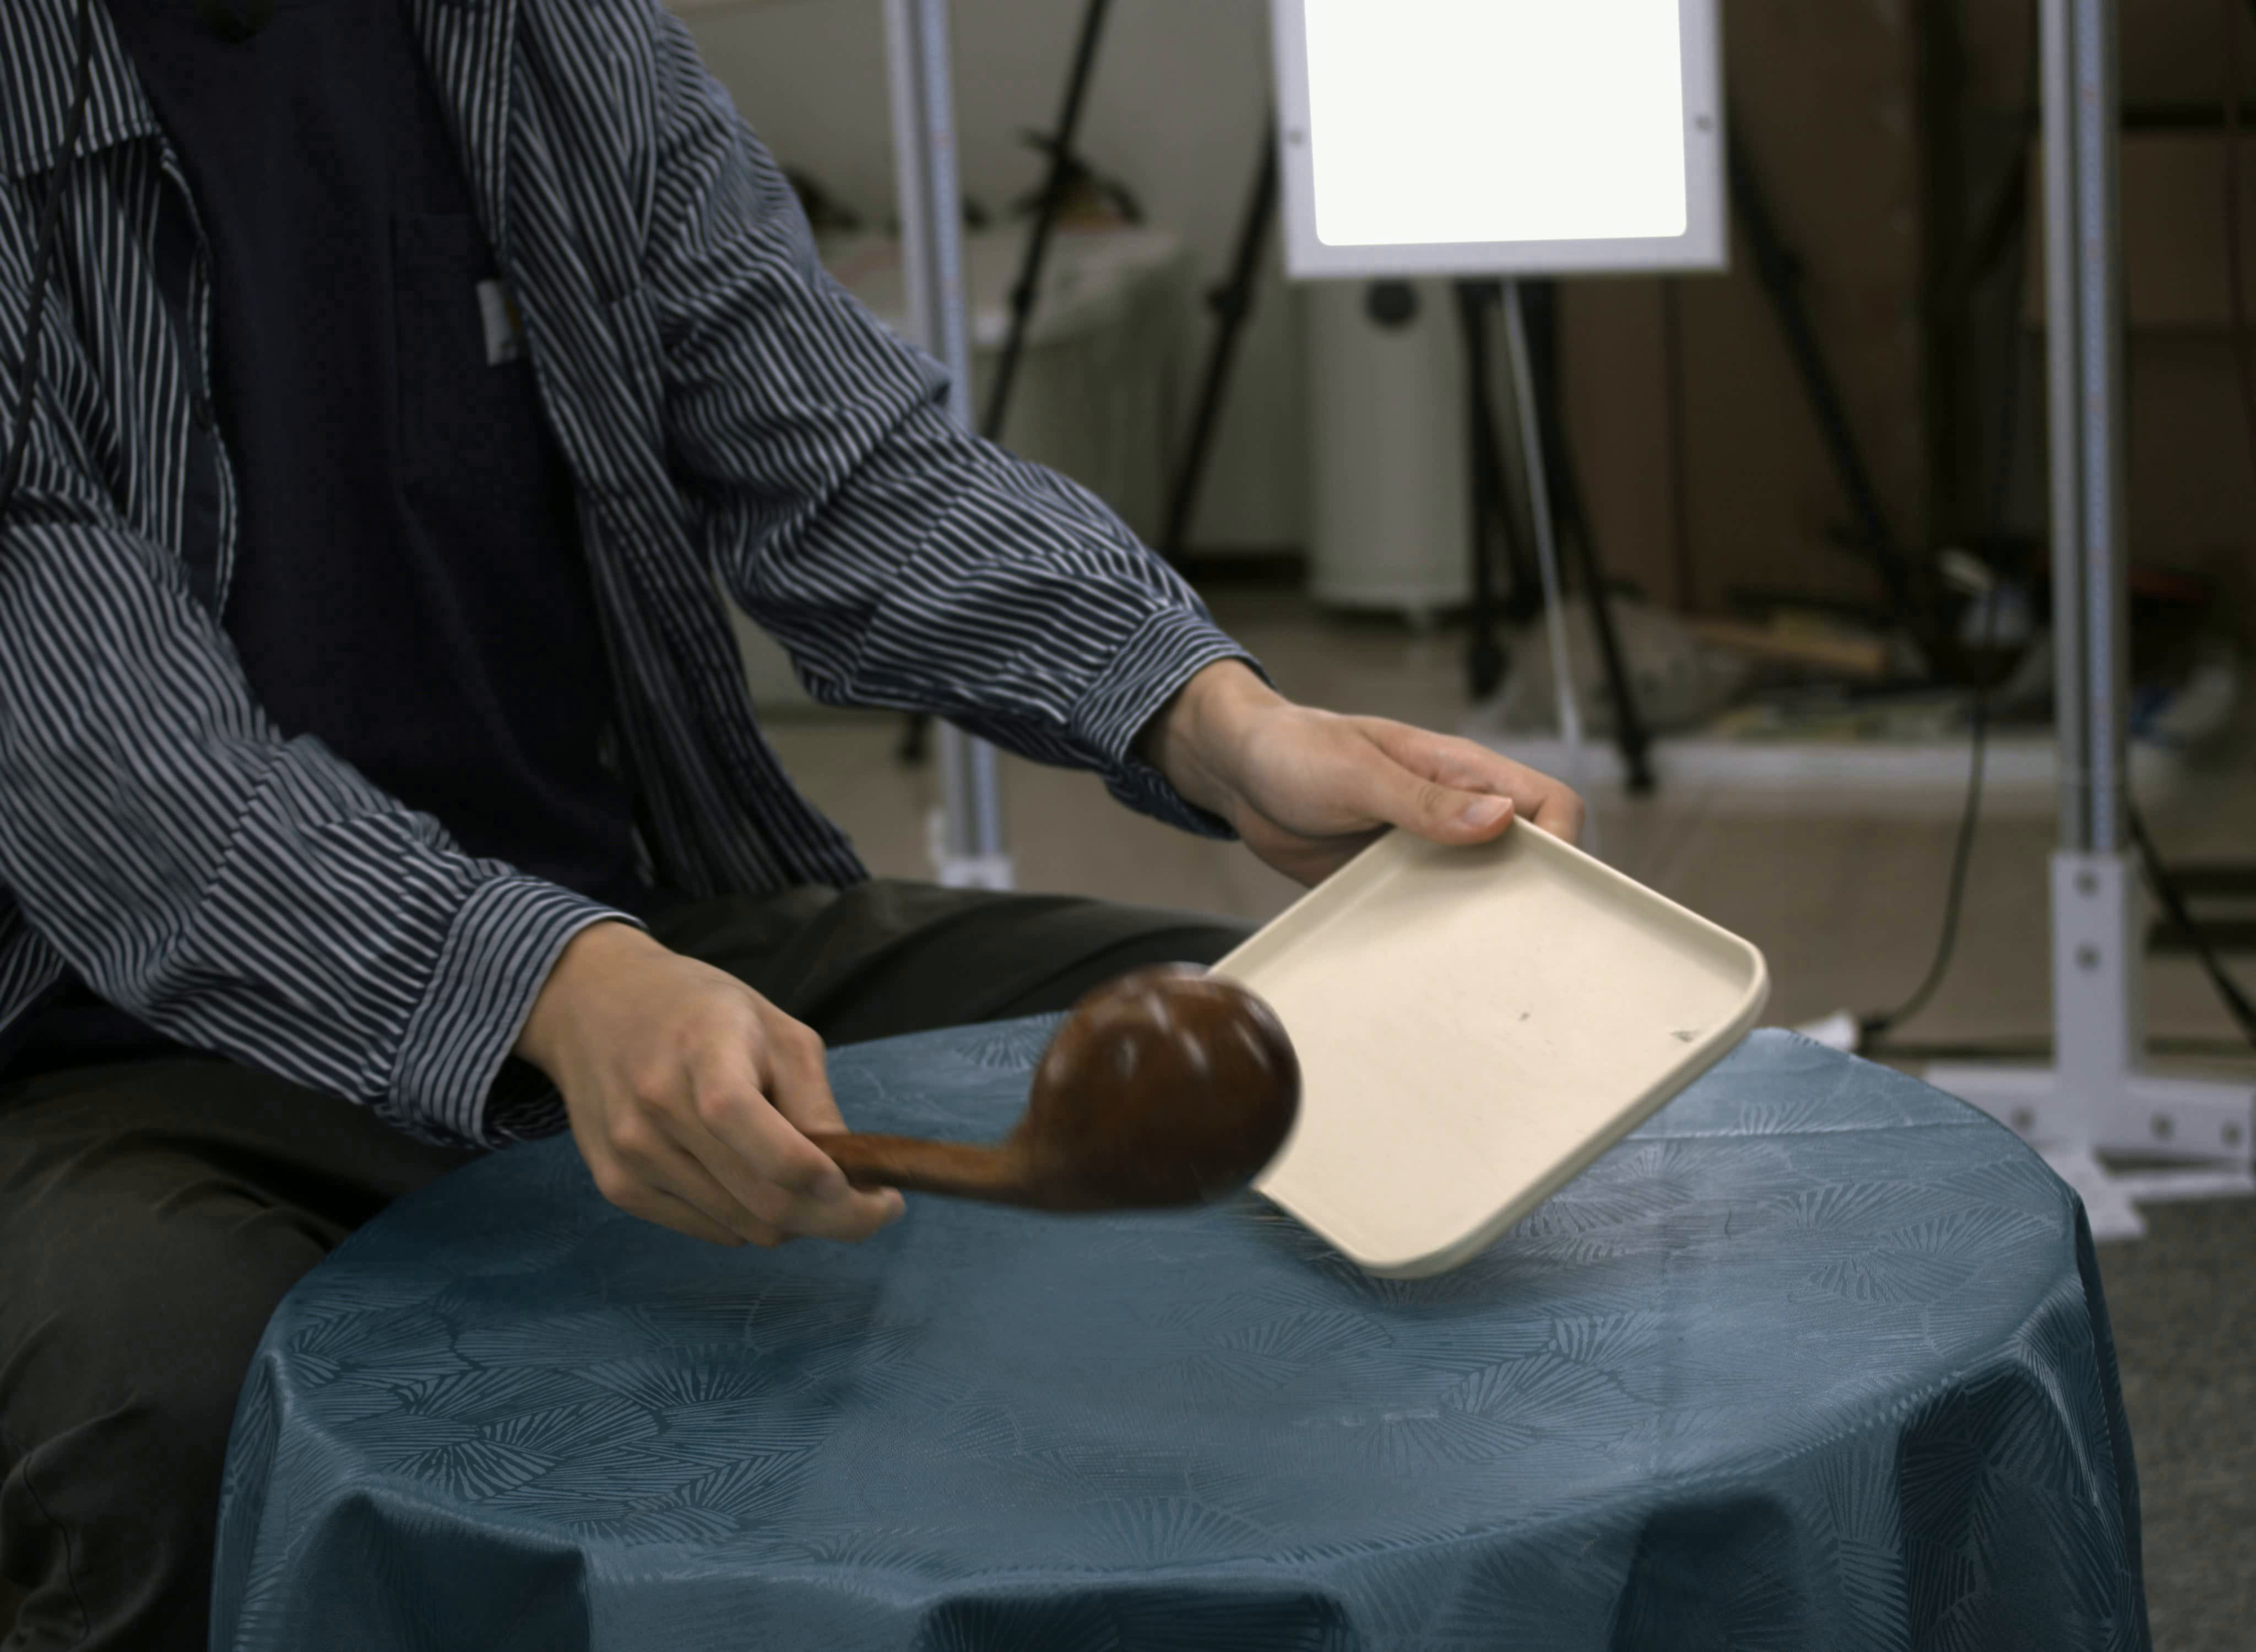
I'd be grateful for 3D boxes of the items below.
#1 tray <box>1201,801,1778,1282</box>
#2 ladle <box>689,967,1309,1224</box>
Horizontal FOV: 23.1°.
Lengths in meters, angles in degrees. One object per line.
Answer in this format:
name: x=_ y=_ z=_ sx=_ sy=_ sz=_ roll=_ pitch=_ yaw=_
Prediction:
tray: x=0.106 y=0.071 z=1.851 sx=0.170 sy=0.017 sz=0.243 roll=-38 pitch=27 yaw=-11
ladle: x=-0.047 y=0.087 z=1.714 sx=0.075 sy=0.081 sz=0.280 roll=-53 pitch=24 yaw=-24
